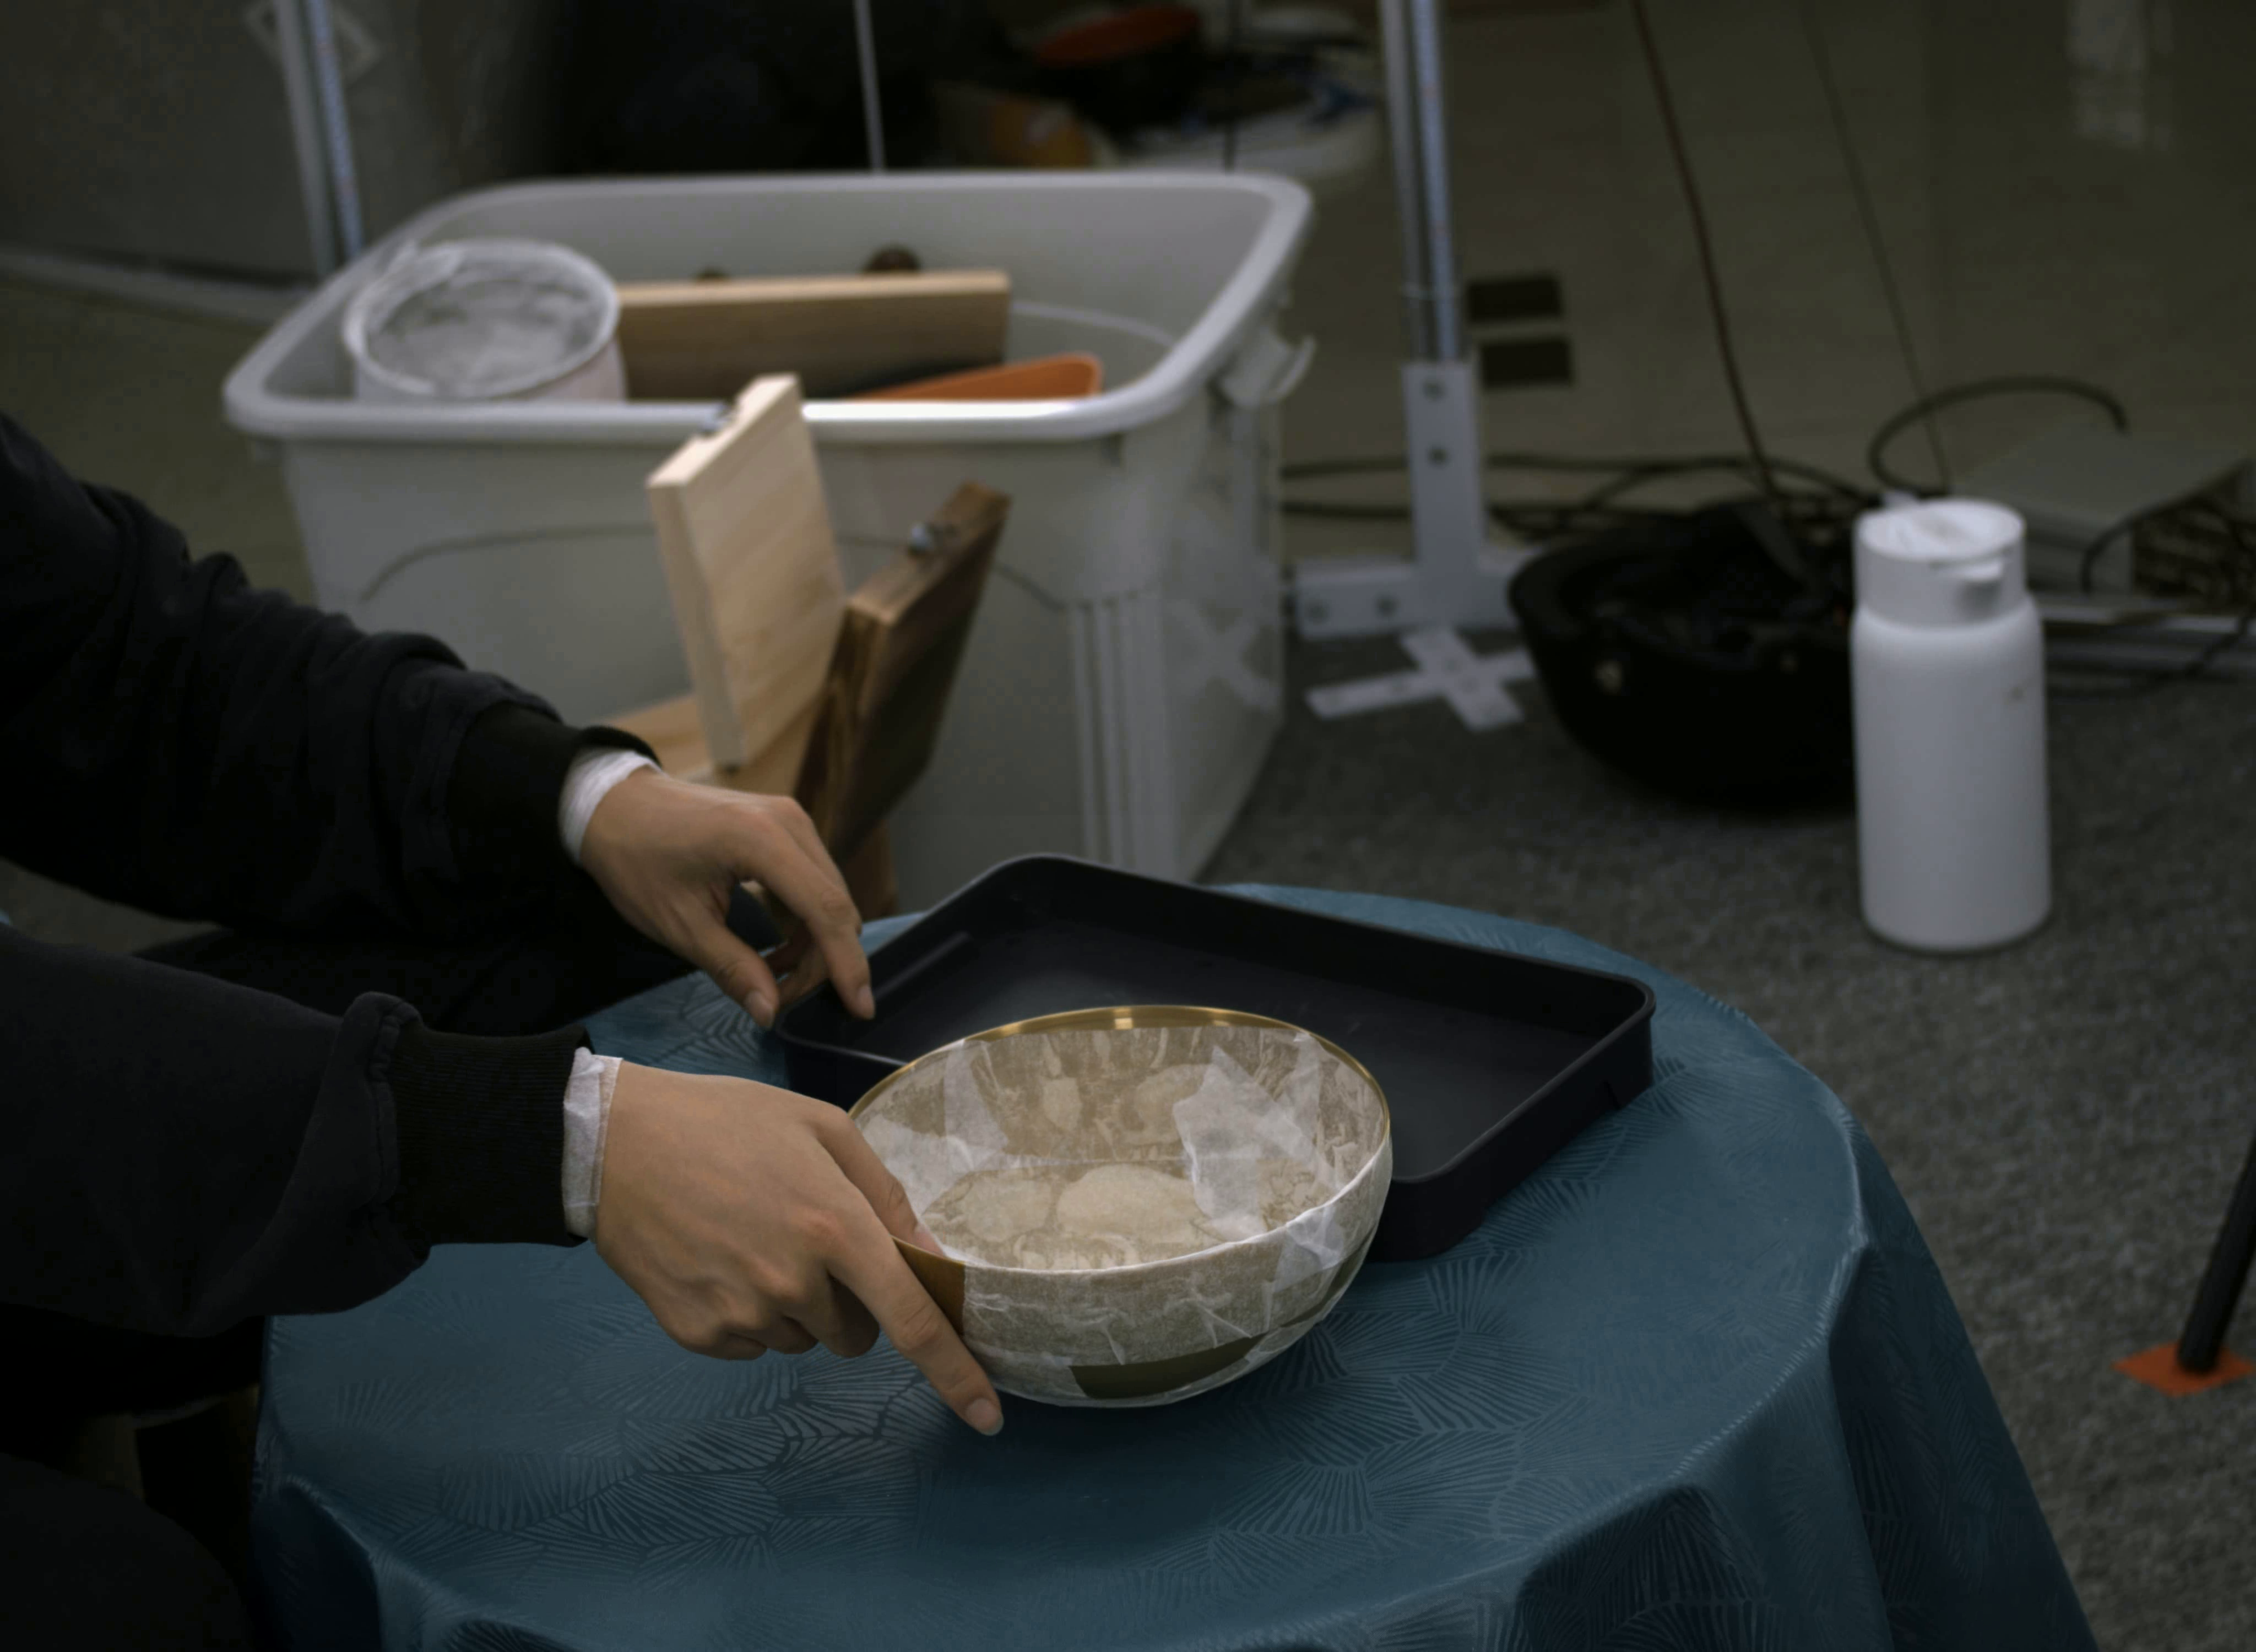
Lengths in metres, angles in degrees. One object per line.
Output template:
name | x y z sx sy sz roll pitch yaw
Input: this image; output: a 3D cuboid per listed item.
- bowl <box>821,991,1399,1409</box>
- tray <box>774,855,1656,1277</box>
bowl | -0.003 0.145 2.026 0.214 0.096 0.211 -5 27 3
tray | 0.032 0.089 2.215 0.316 0.037 0.182 15 31 35
